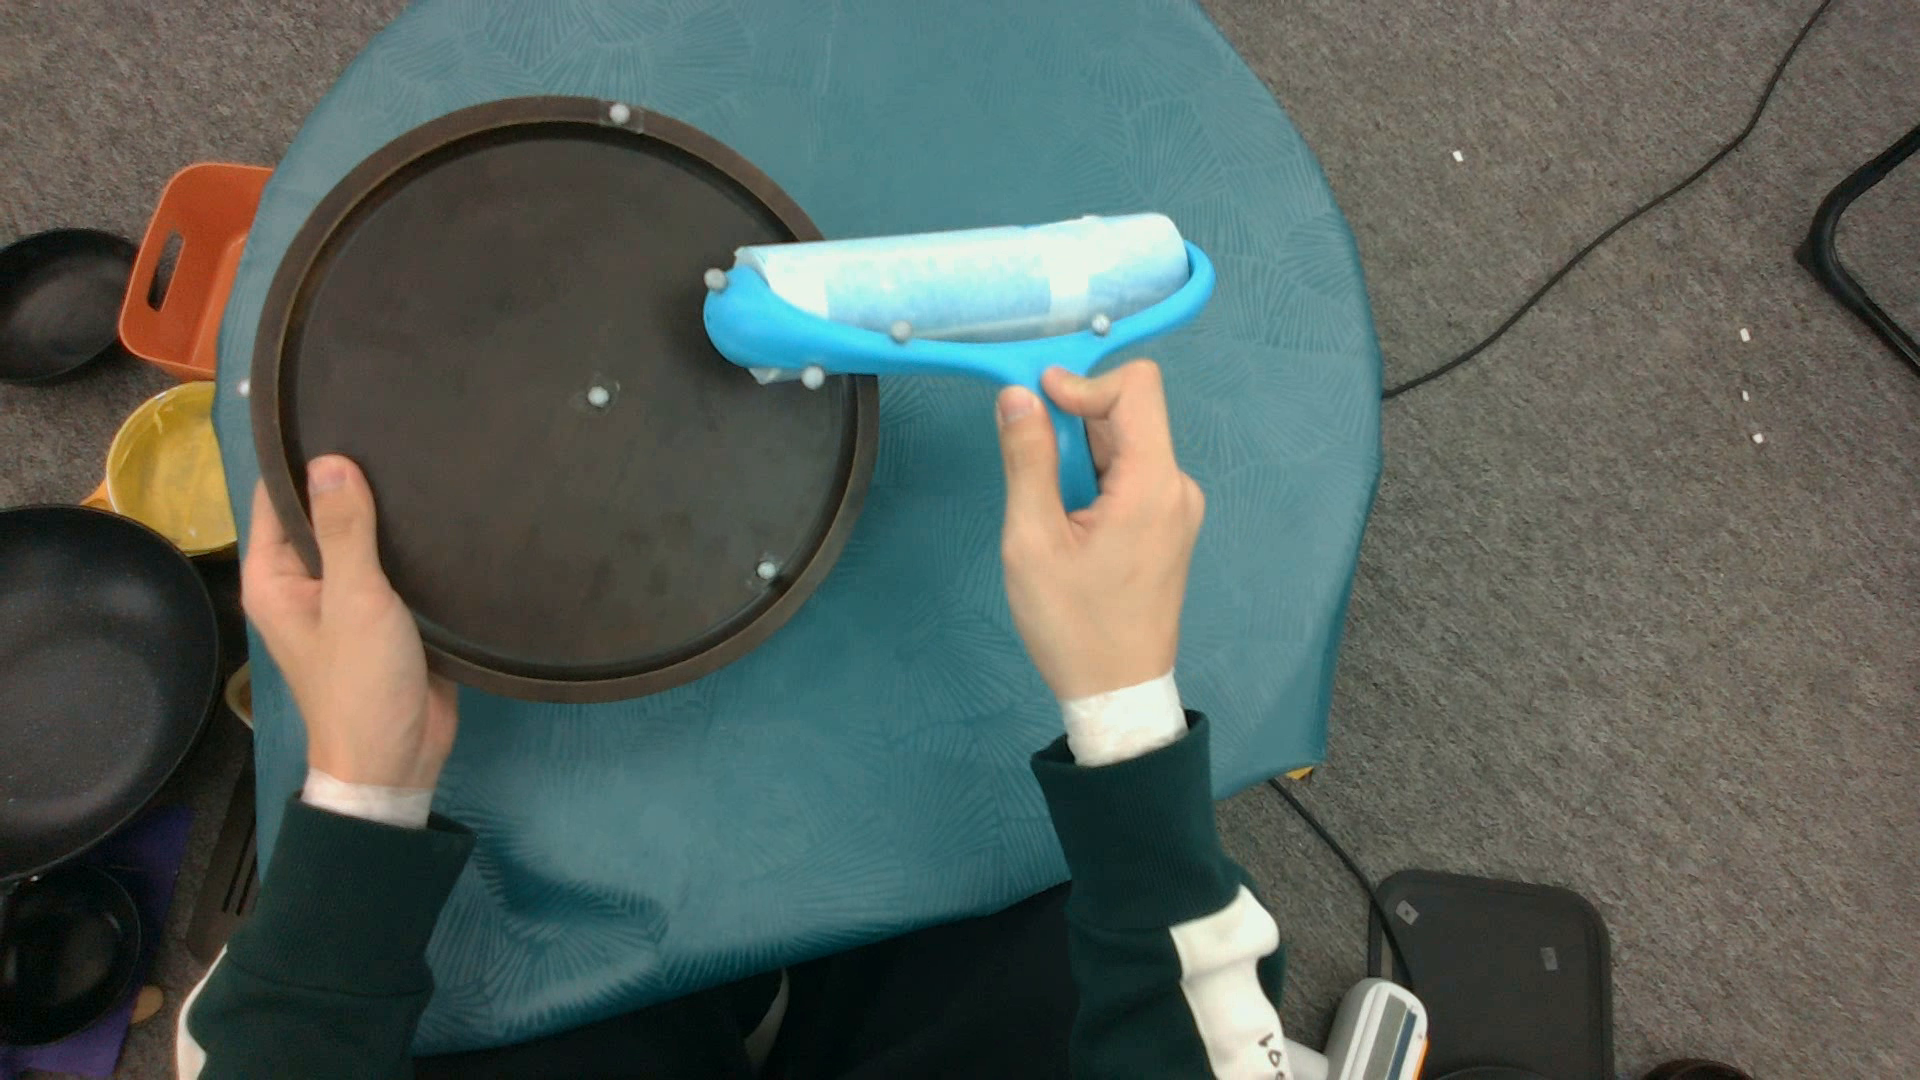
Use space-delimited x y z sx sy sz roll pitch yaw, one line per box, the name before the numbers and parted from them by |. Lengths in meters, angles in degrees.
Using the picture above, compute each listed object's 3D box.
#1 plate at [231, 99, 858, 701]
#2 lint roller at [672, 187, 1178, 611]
plate | -0.169 -0.057 0.587 0.255 0.029 0.254 -1 92 -16
lint roller | 0.015 -0.063 0.563 0.229 0.067 0.180 -16 68 -29
